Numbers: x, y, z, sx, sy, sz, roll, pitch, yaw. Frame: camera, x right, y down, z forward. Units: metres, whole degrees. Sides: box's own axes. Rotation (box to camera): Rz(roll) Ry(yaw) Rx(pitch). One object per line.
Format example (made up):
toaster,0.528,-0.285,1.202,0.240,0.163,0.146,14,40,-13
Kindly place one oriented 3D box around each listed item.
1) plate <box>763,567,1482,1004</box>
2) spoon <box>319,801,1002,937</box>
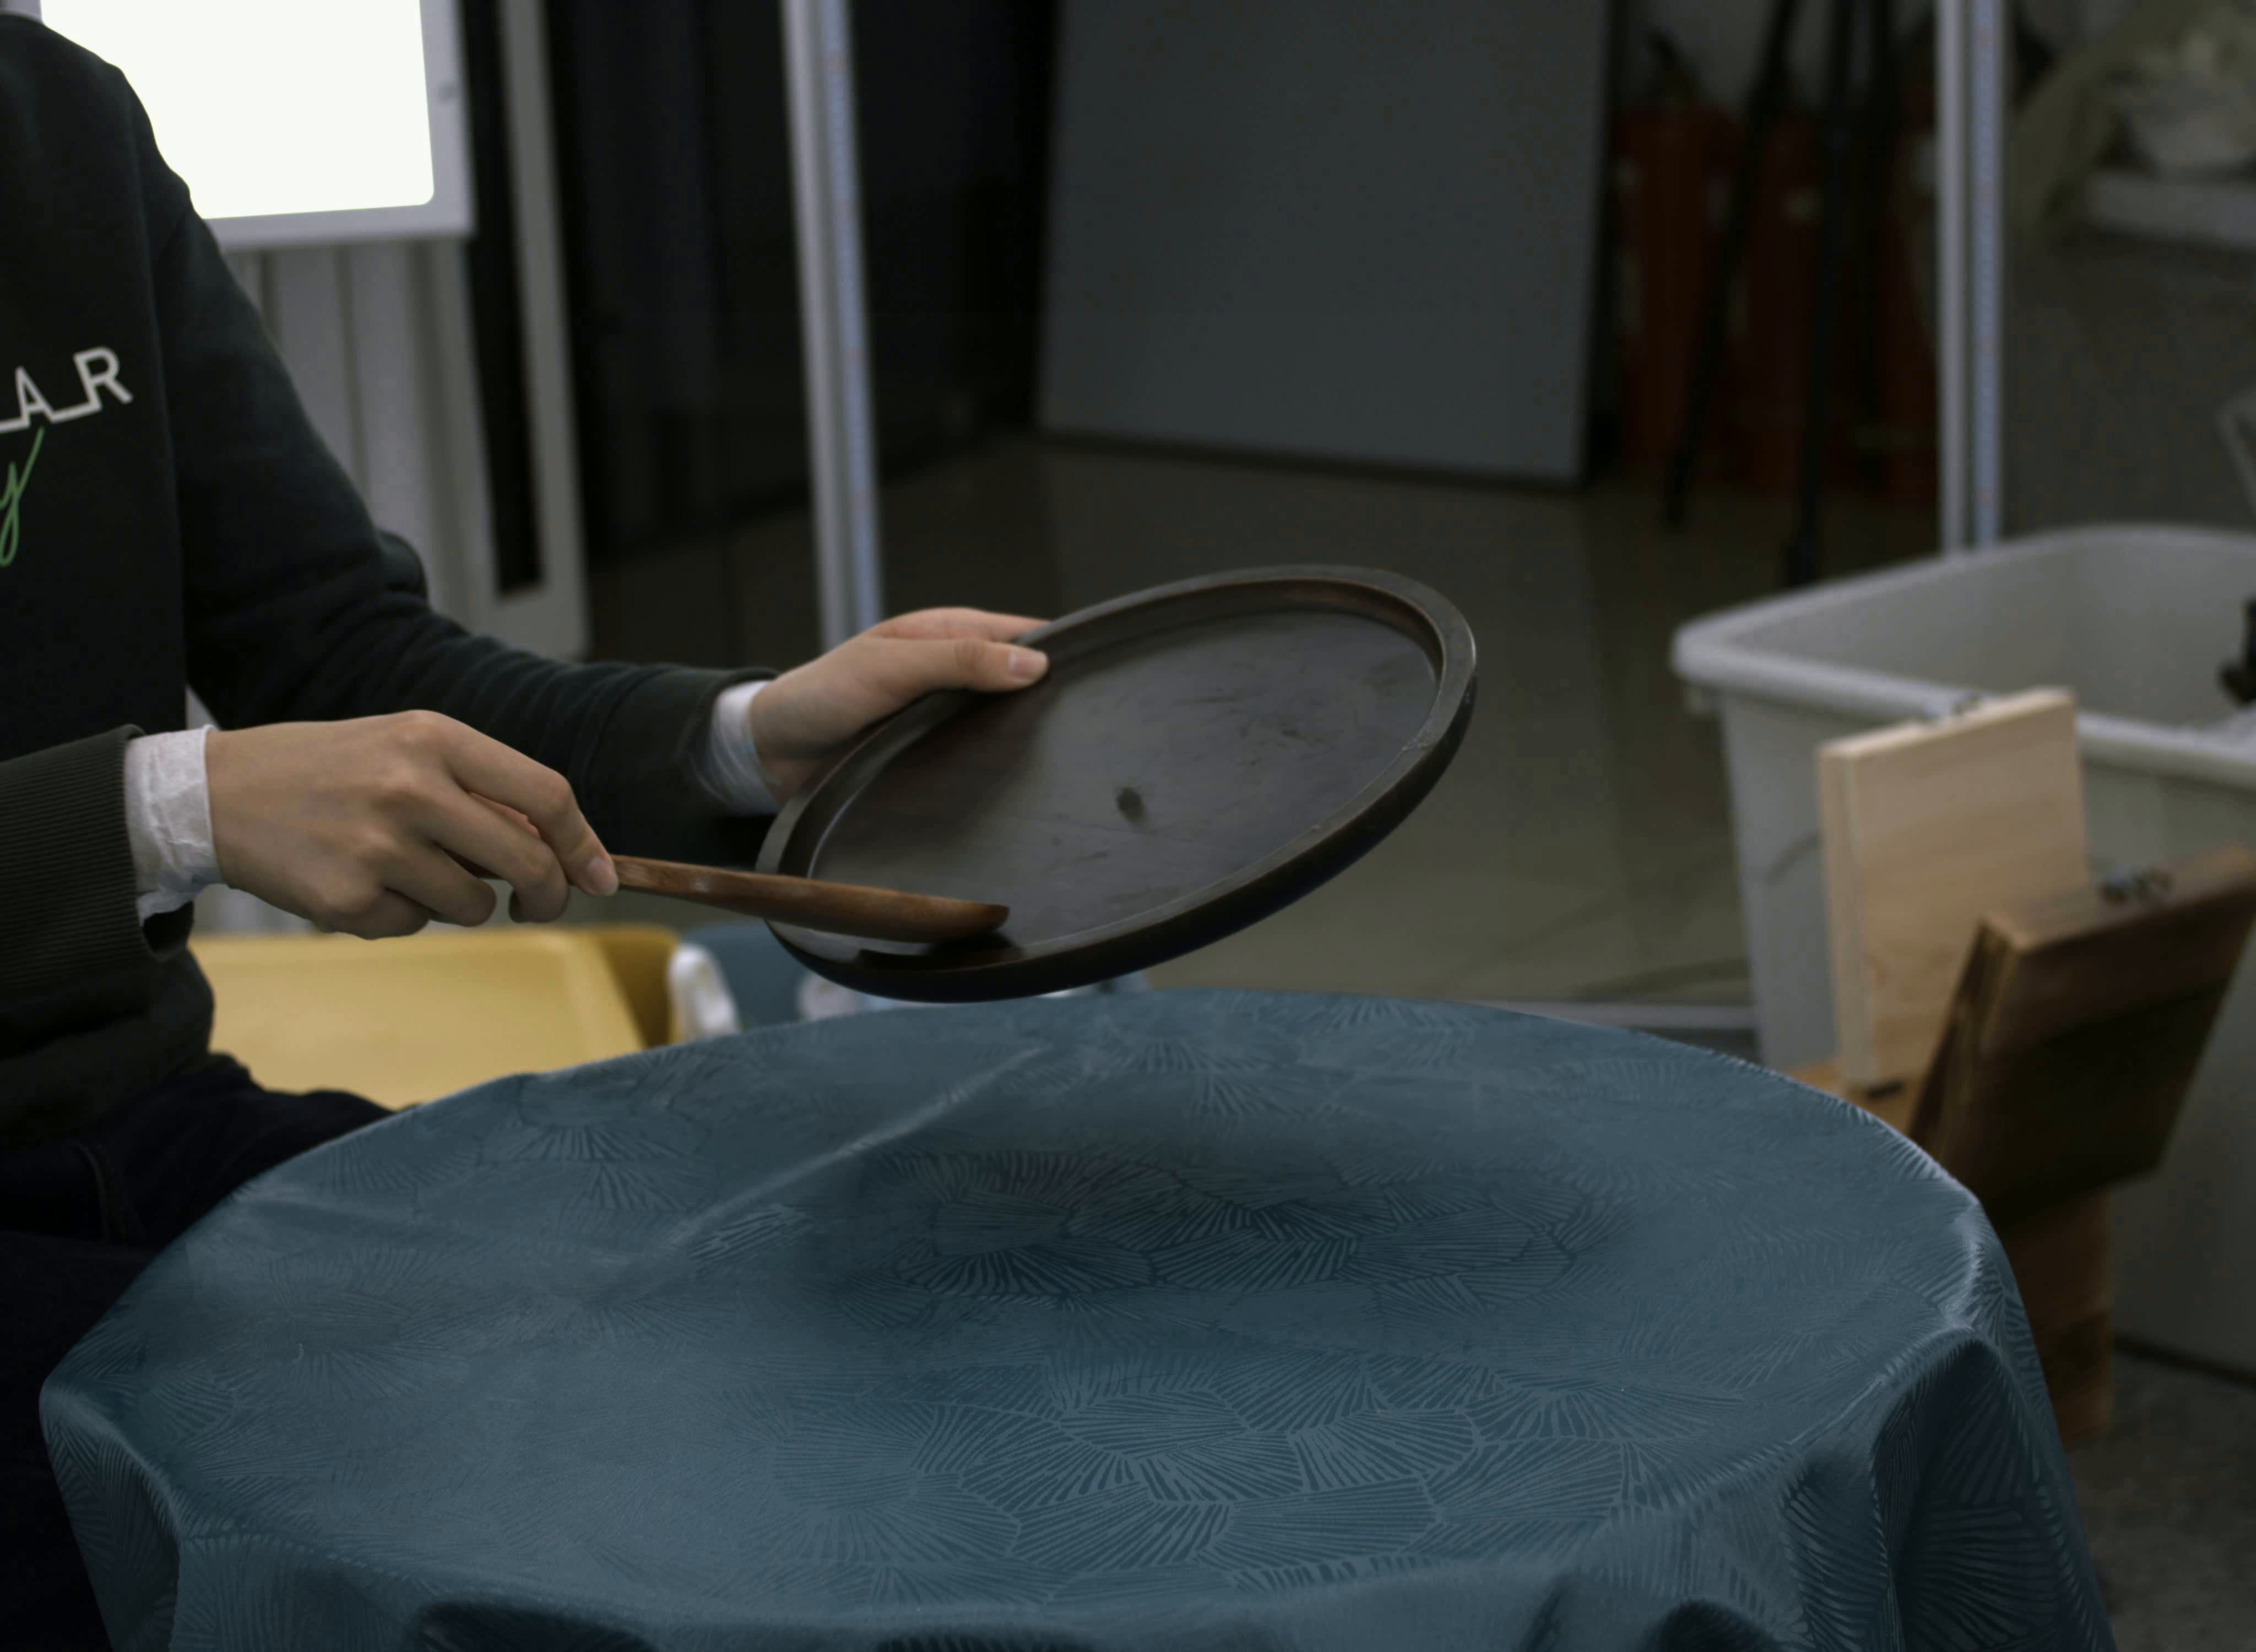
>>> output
plate,-0.001,-0.015,1.772,0.253,0.029,0.256,-18,25,7
spoon,-0.144,0.015,1.682,0.212,0.017,0.076,8,1,-9
